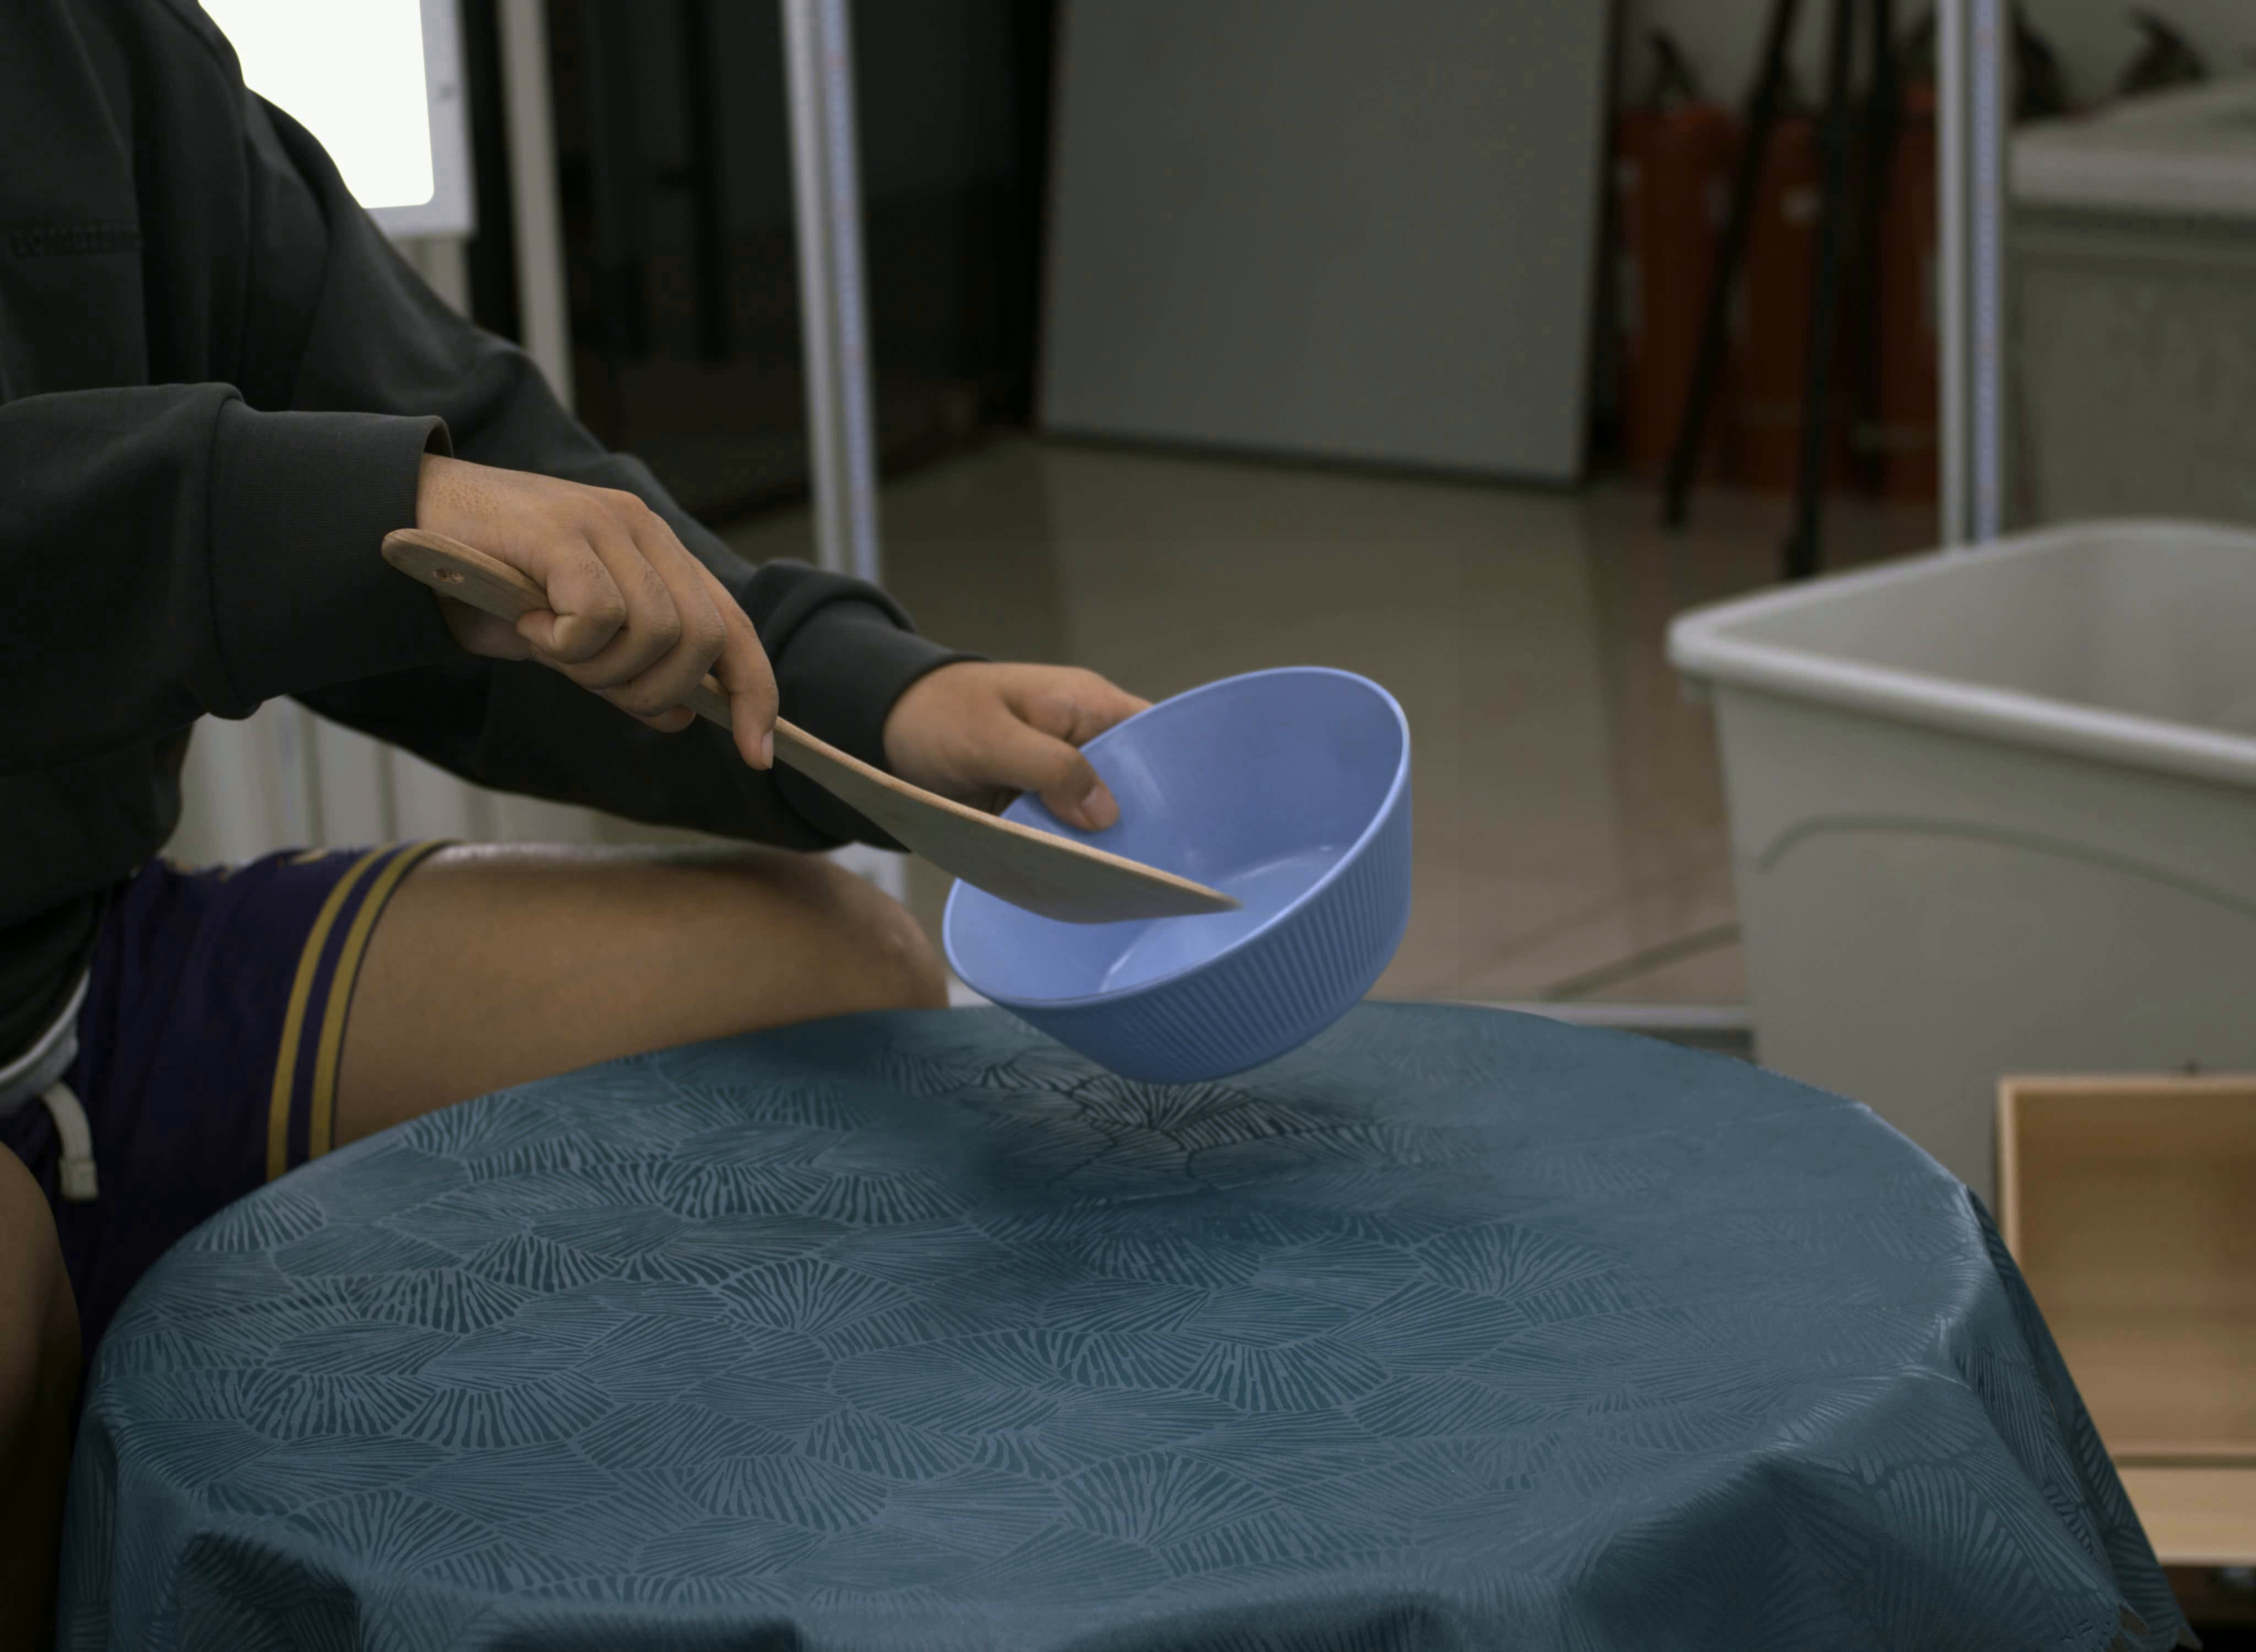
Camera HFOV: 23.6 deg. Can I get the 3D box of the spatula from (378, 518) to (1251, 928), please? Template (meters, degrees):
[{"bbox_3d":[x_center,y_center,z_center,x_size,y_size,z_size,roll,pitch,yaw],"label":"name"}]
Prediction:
[{"bbox_3d":[-0.101,-0.027,1.696,0.321,0.016,0.081,29,-25,-33],"label":"spatula"}]

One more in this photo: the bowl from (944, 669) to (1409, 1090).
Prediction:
[{"bbox_3d":[0.029,0.027,1.823,0.175,0.070,0.177,-24,29,13],"label":"bowl"}]
